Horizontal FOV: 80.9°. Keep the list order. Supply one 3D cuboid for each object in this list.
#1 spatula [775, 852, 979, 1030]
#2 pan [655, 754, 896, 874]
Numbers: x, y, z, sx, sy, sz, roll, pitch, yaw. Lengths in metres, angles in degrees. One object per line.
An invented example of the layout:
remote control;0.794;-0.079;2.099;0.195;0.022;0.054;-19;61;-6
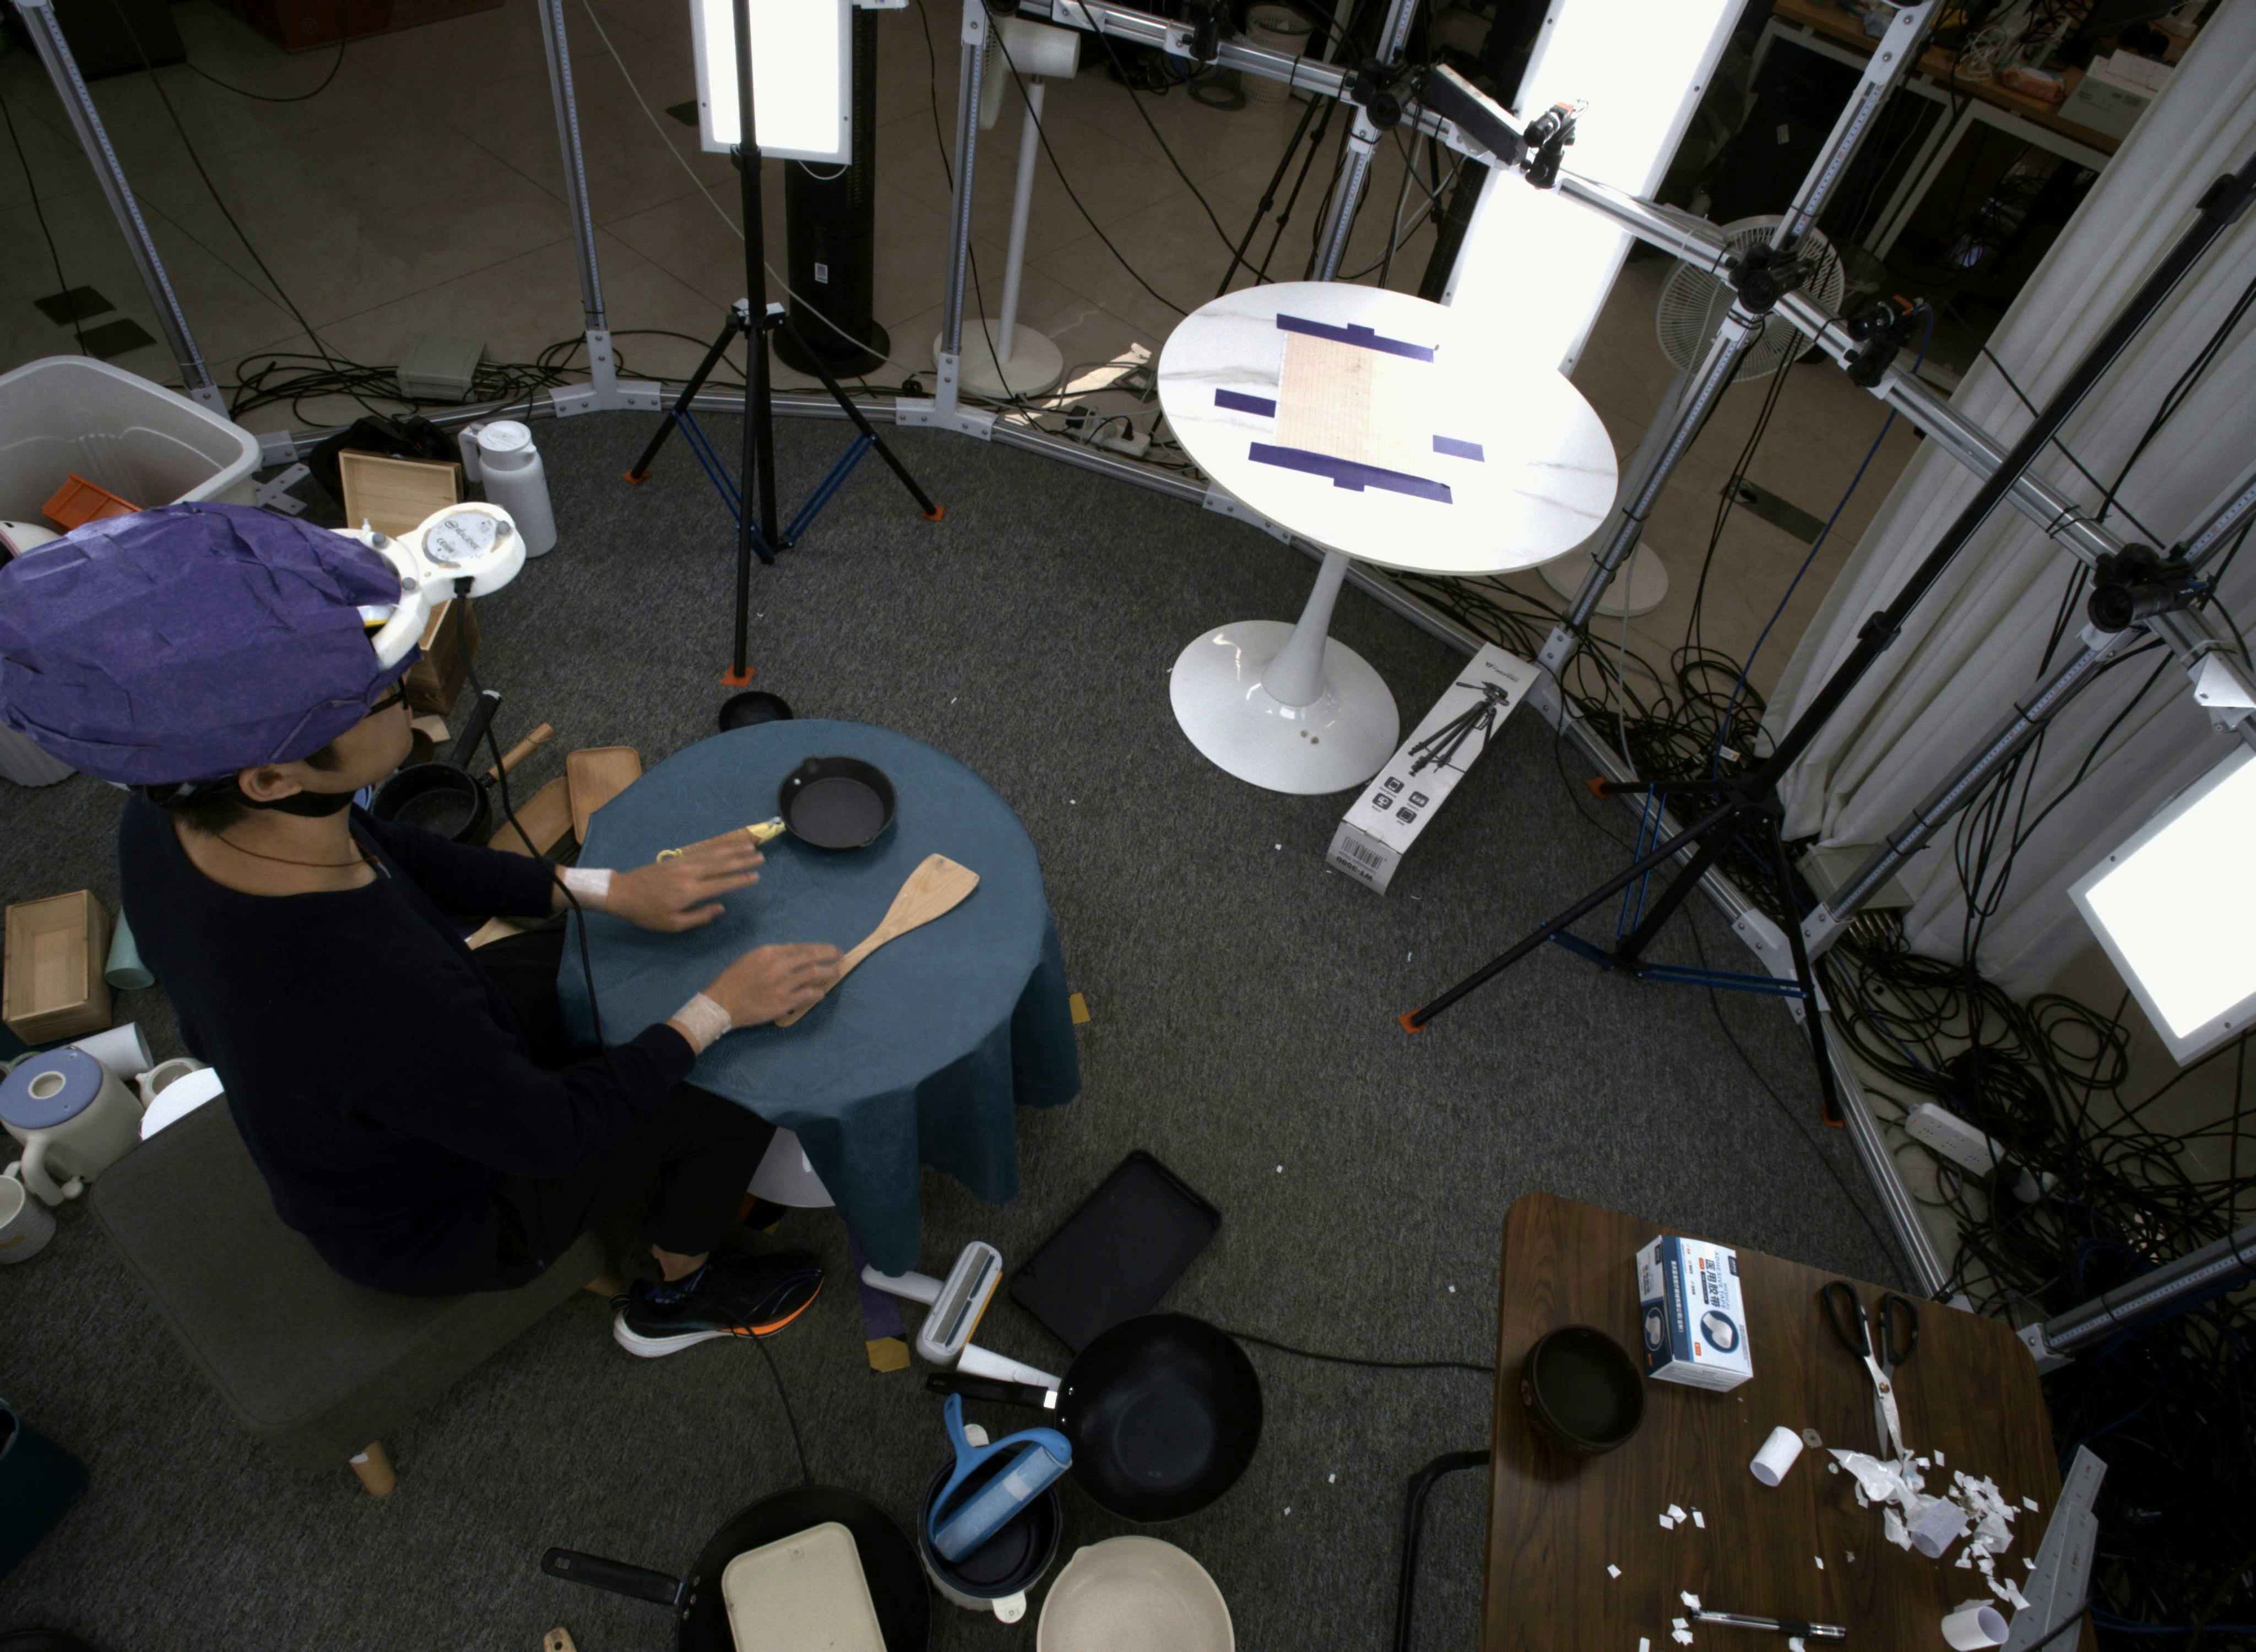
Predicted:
spatula;-0.318;0.140;1.626;0.078;0.017;0.327;36;53;14
pan;-0.455;-0.001;1.674;0.326;0.050;0.165;-23;62;-30
